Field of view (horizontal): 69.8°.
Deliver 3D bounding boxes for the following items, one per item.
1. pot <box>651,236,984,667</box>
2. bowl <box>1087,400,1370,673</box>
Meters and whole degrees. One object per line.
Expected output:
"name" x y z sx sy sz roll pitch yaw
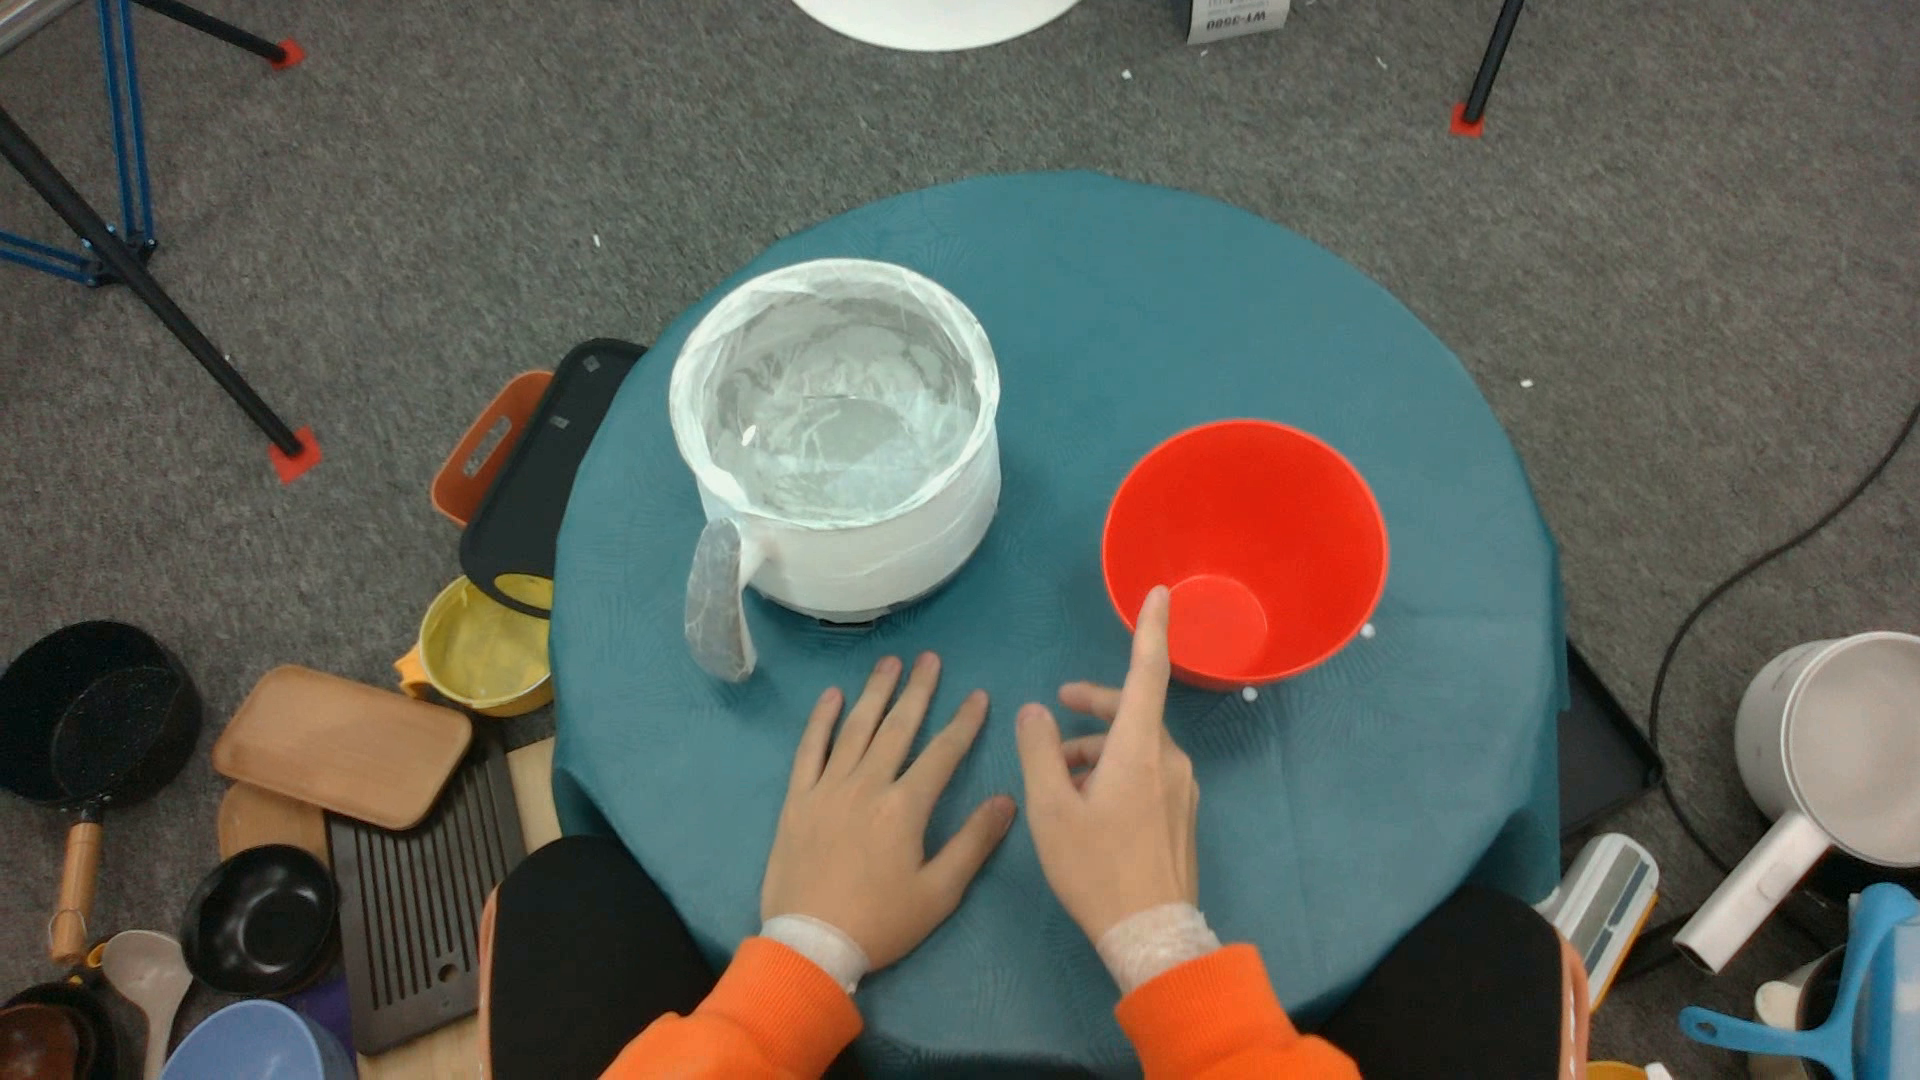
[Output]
"pot" -0.088 -0.042 0.778 0.178 0.136 0.234 25 66 14
"bowl" 0.143 0.011 0.767 0.148 0.104 0.148 -1 63 2
